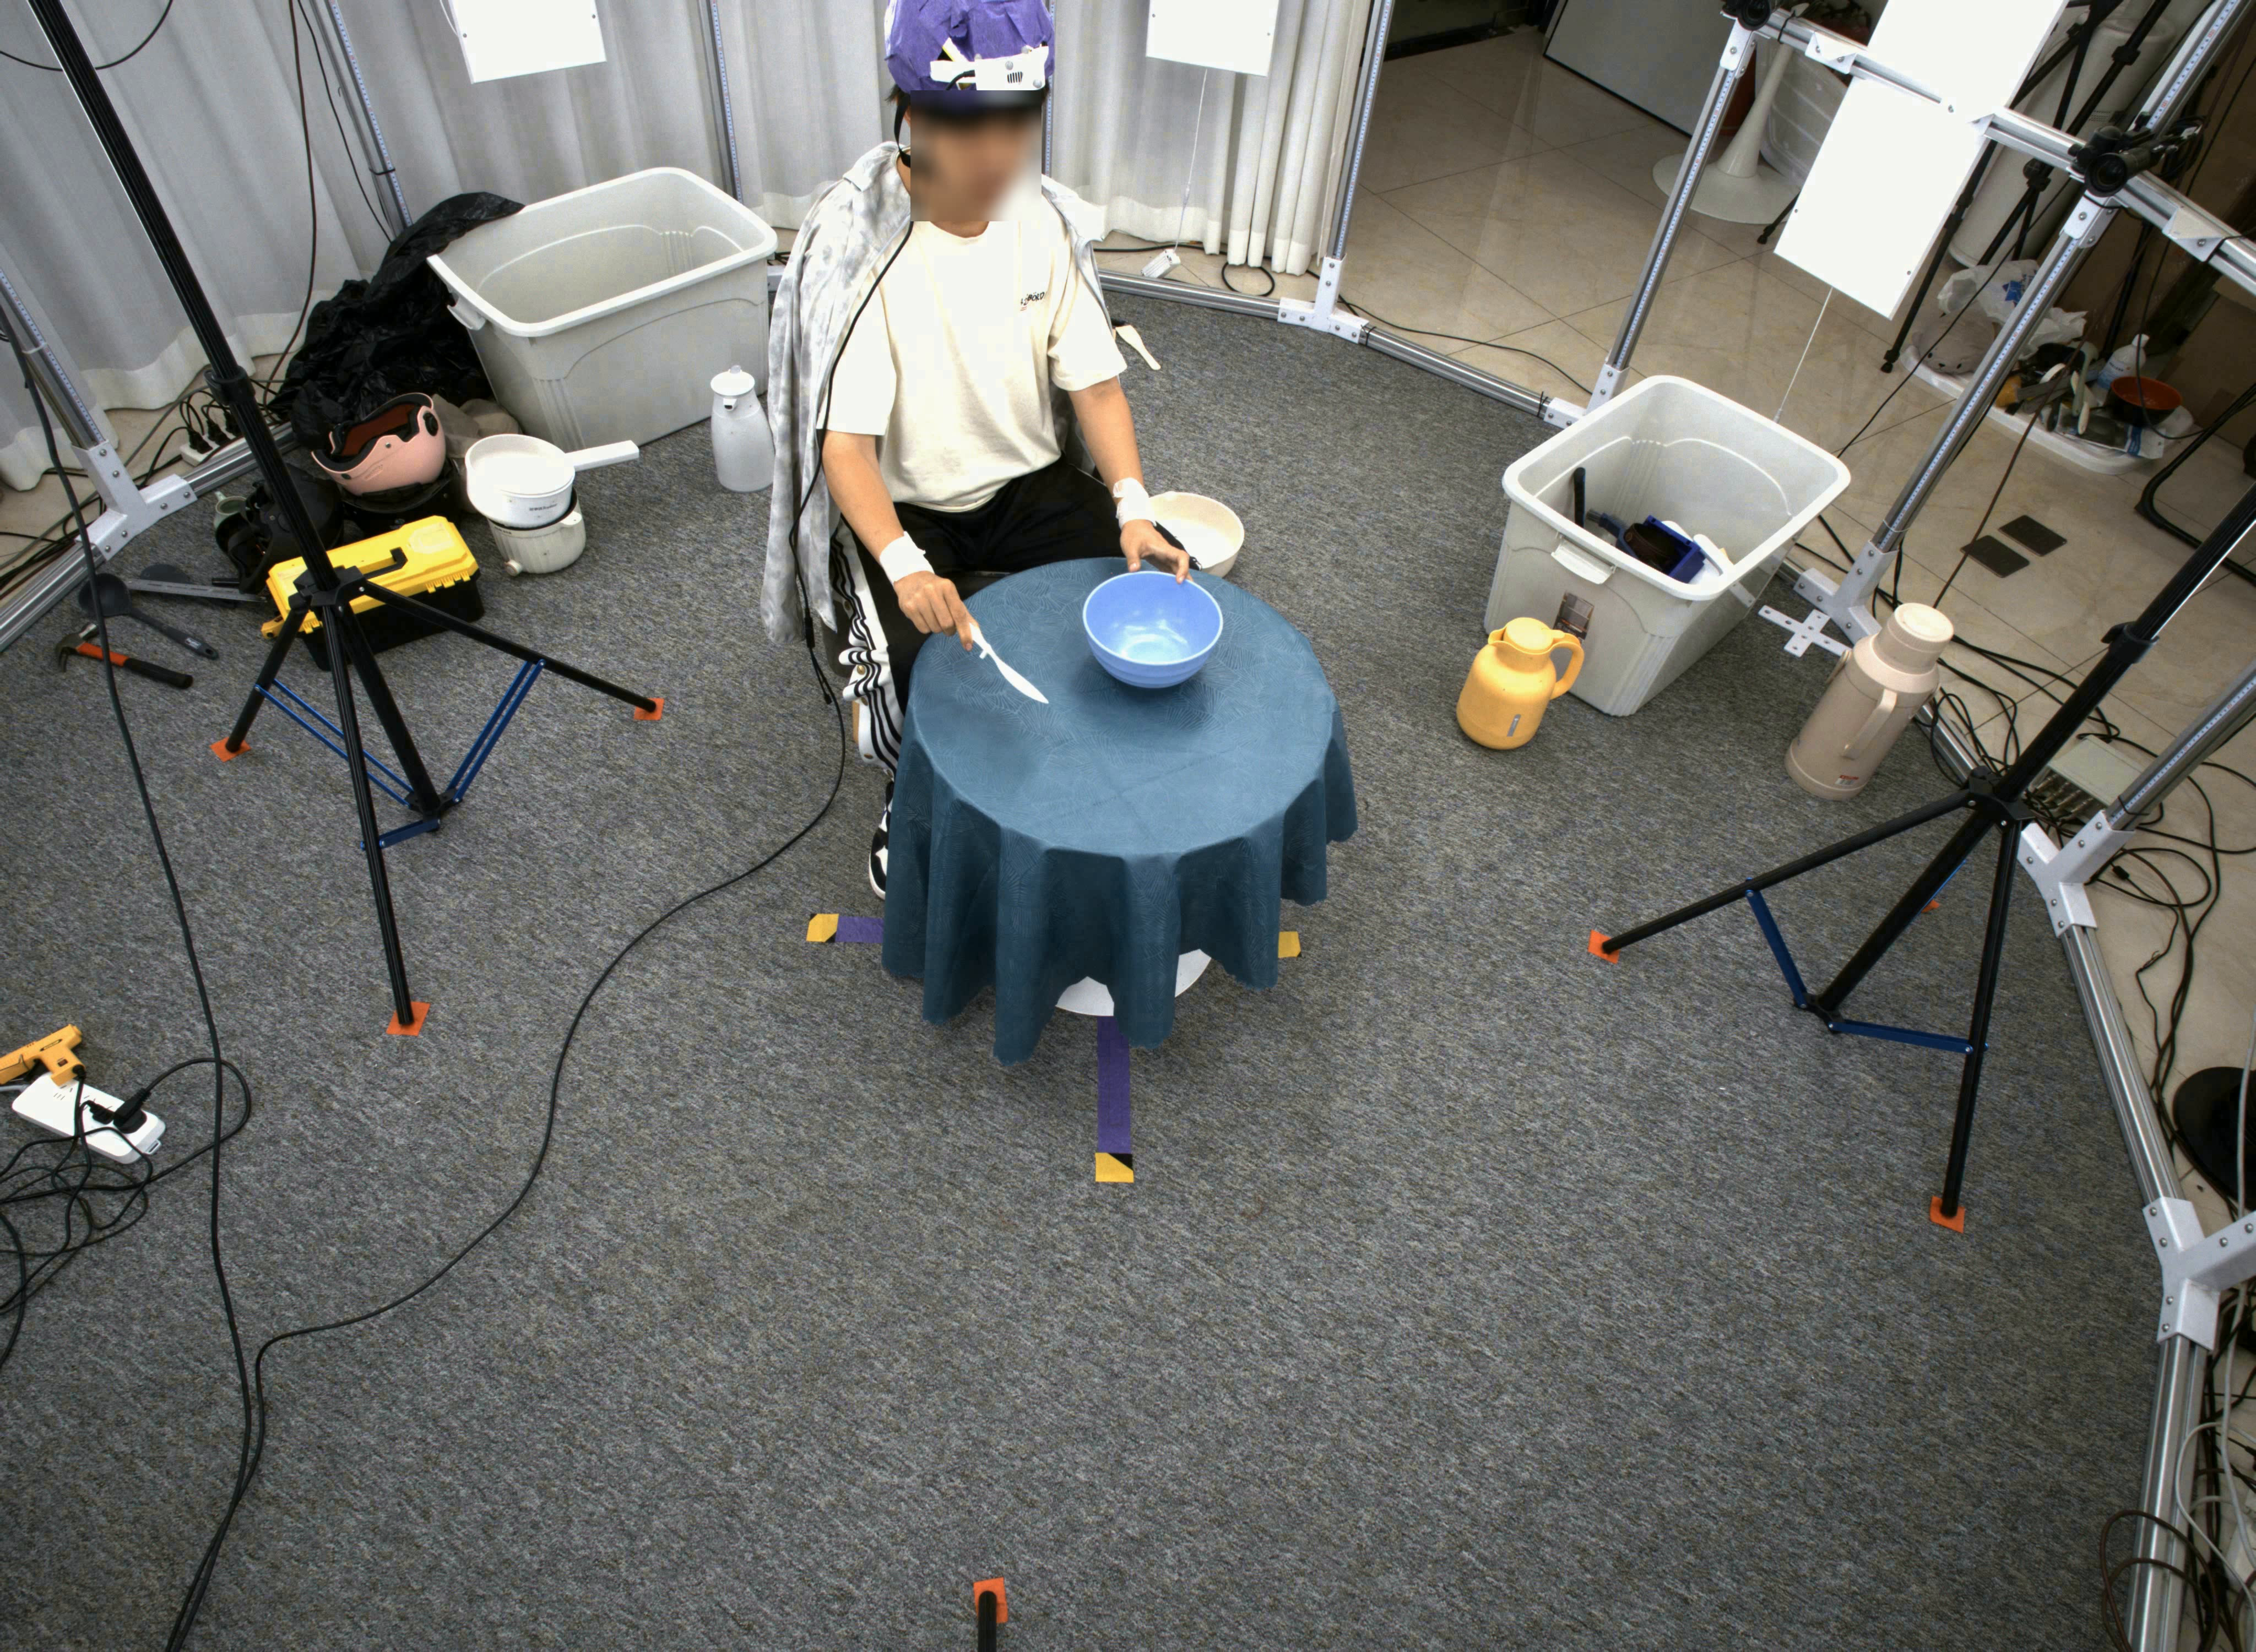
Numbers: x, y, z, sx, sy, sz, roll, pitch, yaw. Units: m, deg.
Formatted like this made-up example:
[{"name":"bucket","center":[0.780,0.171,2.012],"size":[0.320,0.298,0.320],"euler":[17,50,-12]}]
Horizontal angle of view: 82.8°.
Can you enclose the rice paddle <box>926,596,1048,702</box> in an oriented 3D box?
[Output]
[{"name":"rice paddle","center":[-0.182,-0.232,1.710],"size":[0.206,0.068,0.029],"euler":[40,93,9]}]

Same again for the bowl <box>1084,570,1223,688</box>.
[{"name":"bowl","center":[0.033,-0.266,1.832],"size":[0.196,0.093,0.201],"euler":[2,51,-3]}]
